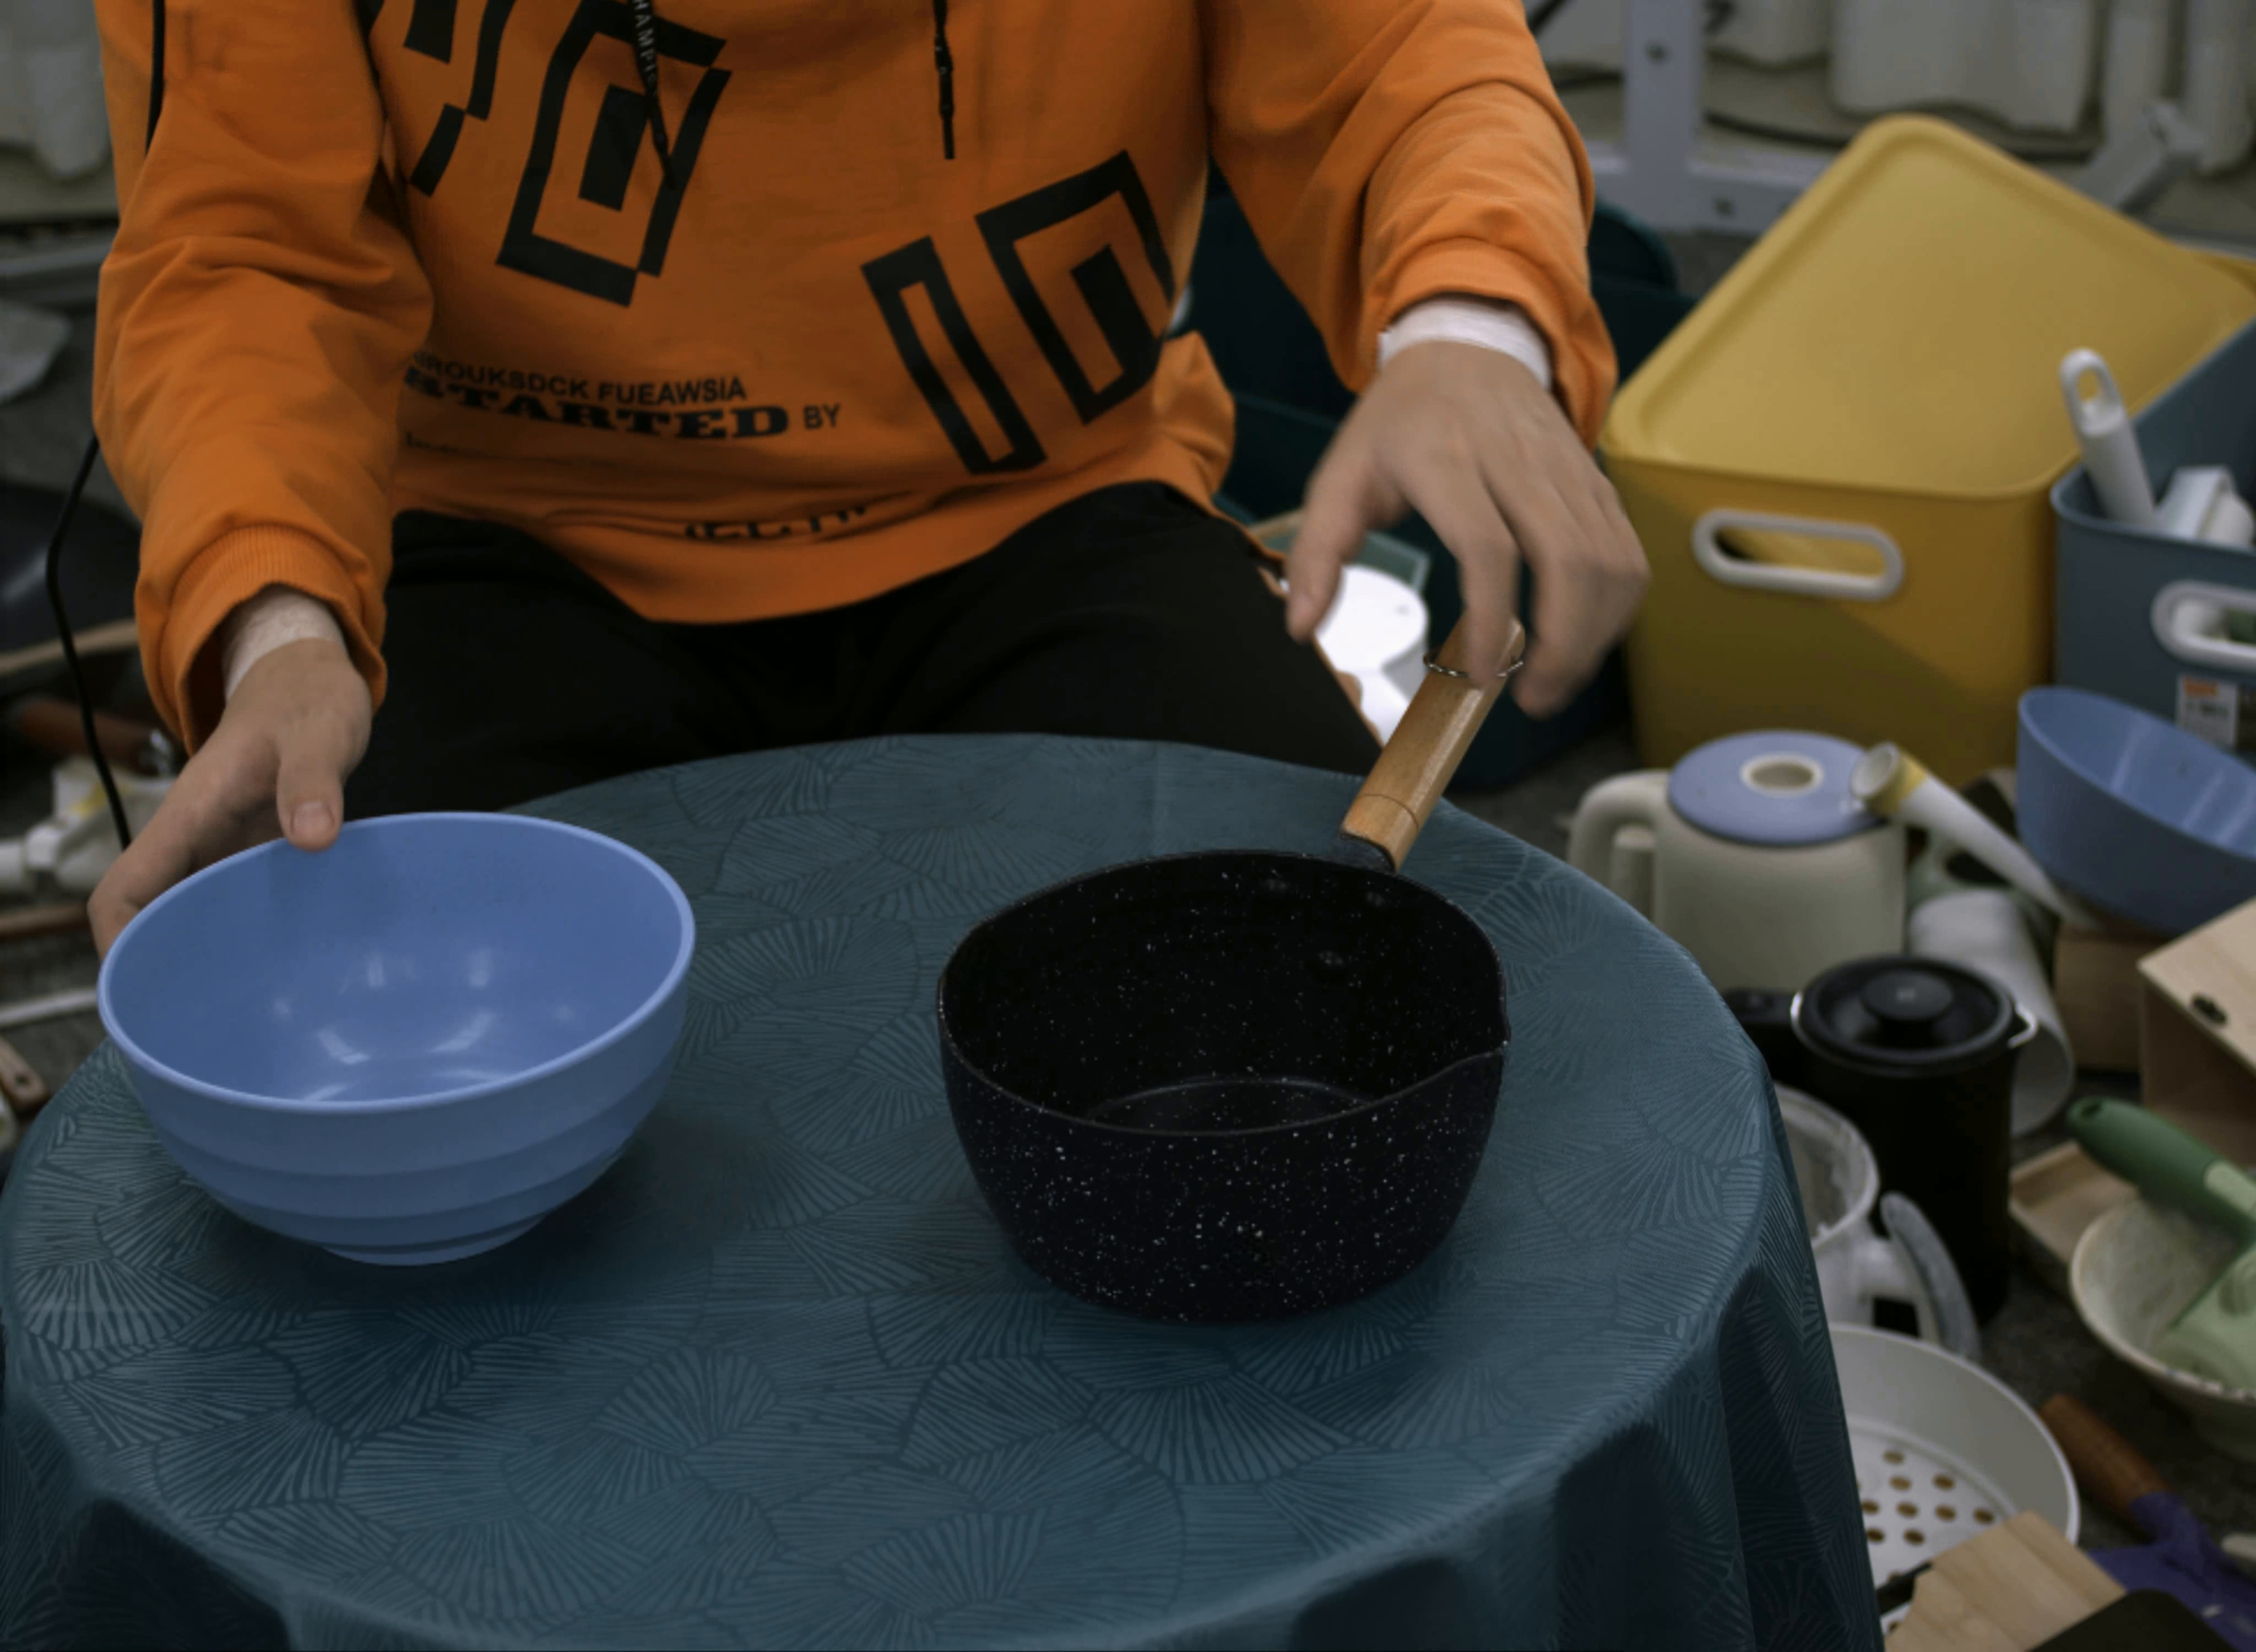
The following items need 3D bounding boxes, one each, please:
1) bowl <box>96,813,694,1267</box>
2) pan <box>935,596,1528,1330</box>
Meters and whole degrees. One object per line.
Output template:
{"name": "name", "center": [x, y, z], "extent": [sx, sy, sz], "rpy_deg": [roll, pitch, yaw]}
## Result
{"name": "bowl", "center": [-0.237, 0.082, 1.859], "extent": [0.195, 0.094, 0.199], "rpy_deg": [-3, 28, 2]}
{"name": "pan", "center": [0.063, 0.042, 1.893], "extent": [0.206, 0.107, 0.349], "rpy_deg": [8, 31, 22]}
